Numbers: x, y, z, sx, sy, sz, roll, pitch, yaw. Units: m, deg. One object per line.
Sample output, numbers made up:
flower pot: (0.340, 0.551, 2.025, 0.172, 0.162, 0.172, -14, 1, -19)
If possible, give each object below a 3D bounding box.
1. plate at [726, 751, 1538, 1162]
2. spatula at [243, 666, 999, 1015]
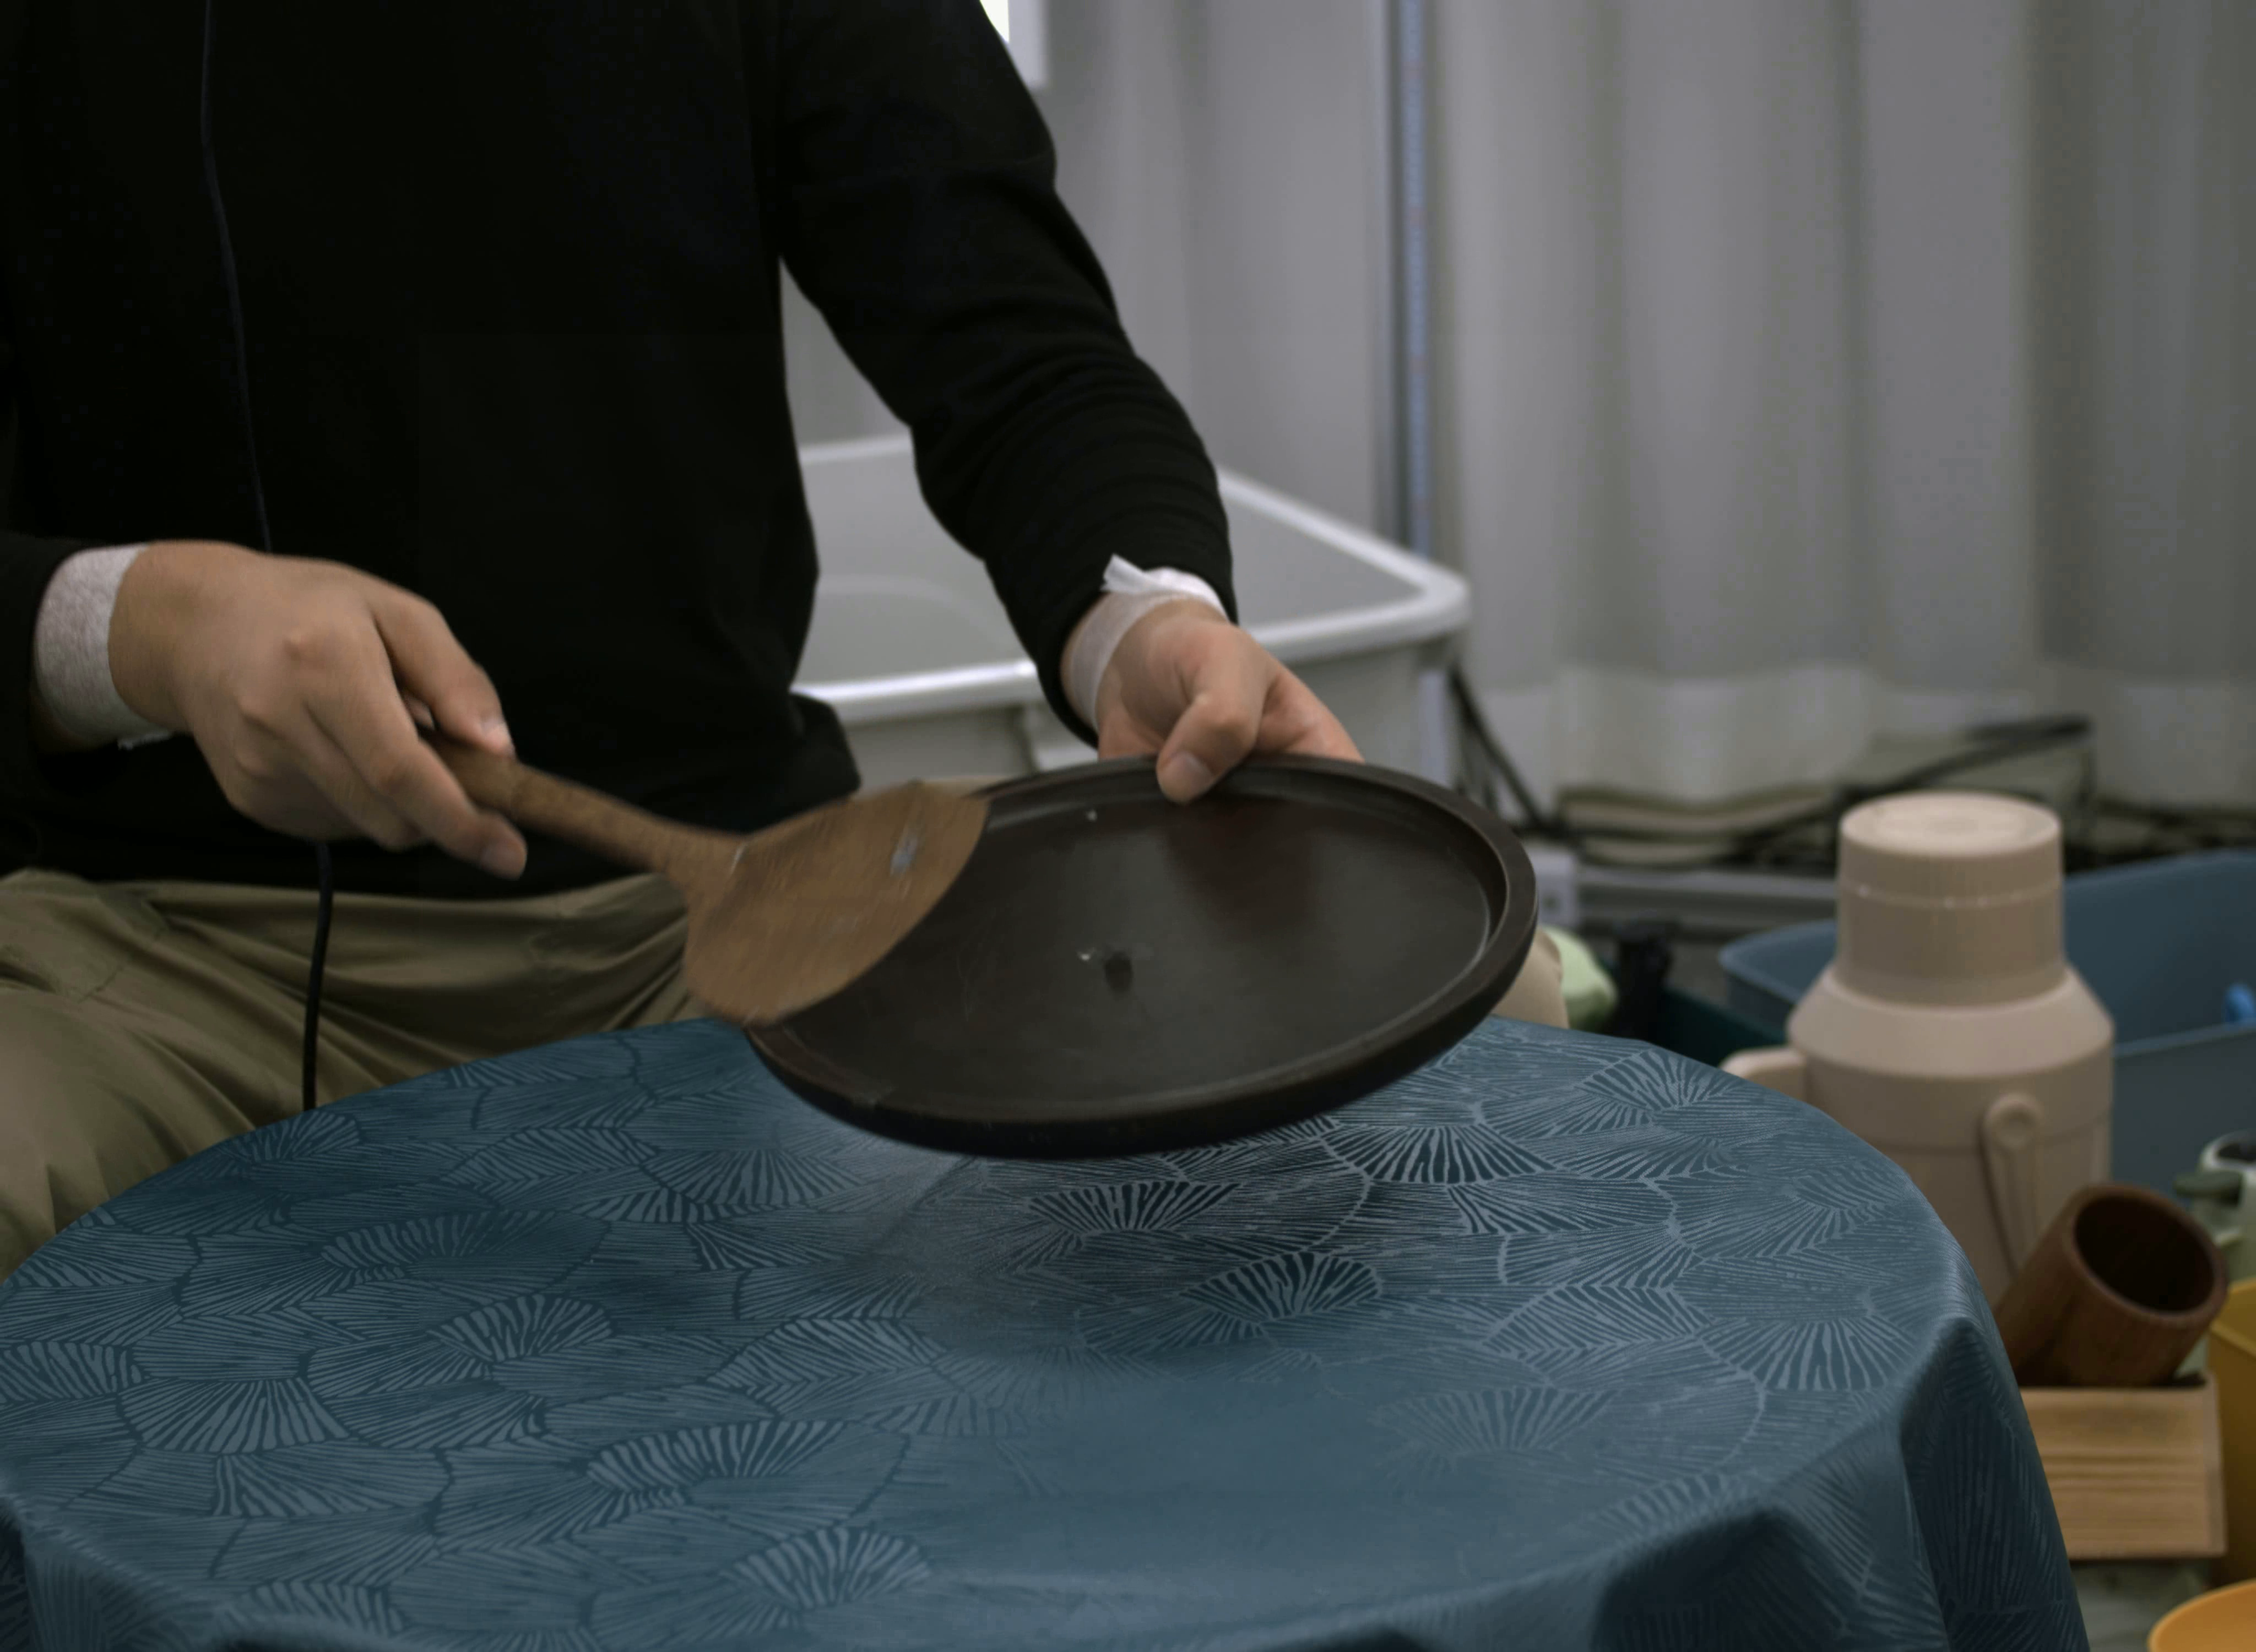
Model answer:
plate: (0.001, 0.038, 1.695, 0.254, 0.029, 0.257, -6, 26, 3)
spatula: (-0.171, -0.009, 1.657, 0.096, 0.015, 0.388, -47, 34, -20)
